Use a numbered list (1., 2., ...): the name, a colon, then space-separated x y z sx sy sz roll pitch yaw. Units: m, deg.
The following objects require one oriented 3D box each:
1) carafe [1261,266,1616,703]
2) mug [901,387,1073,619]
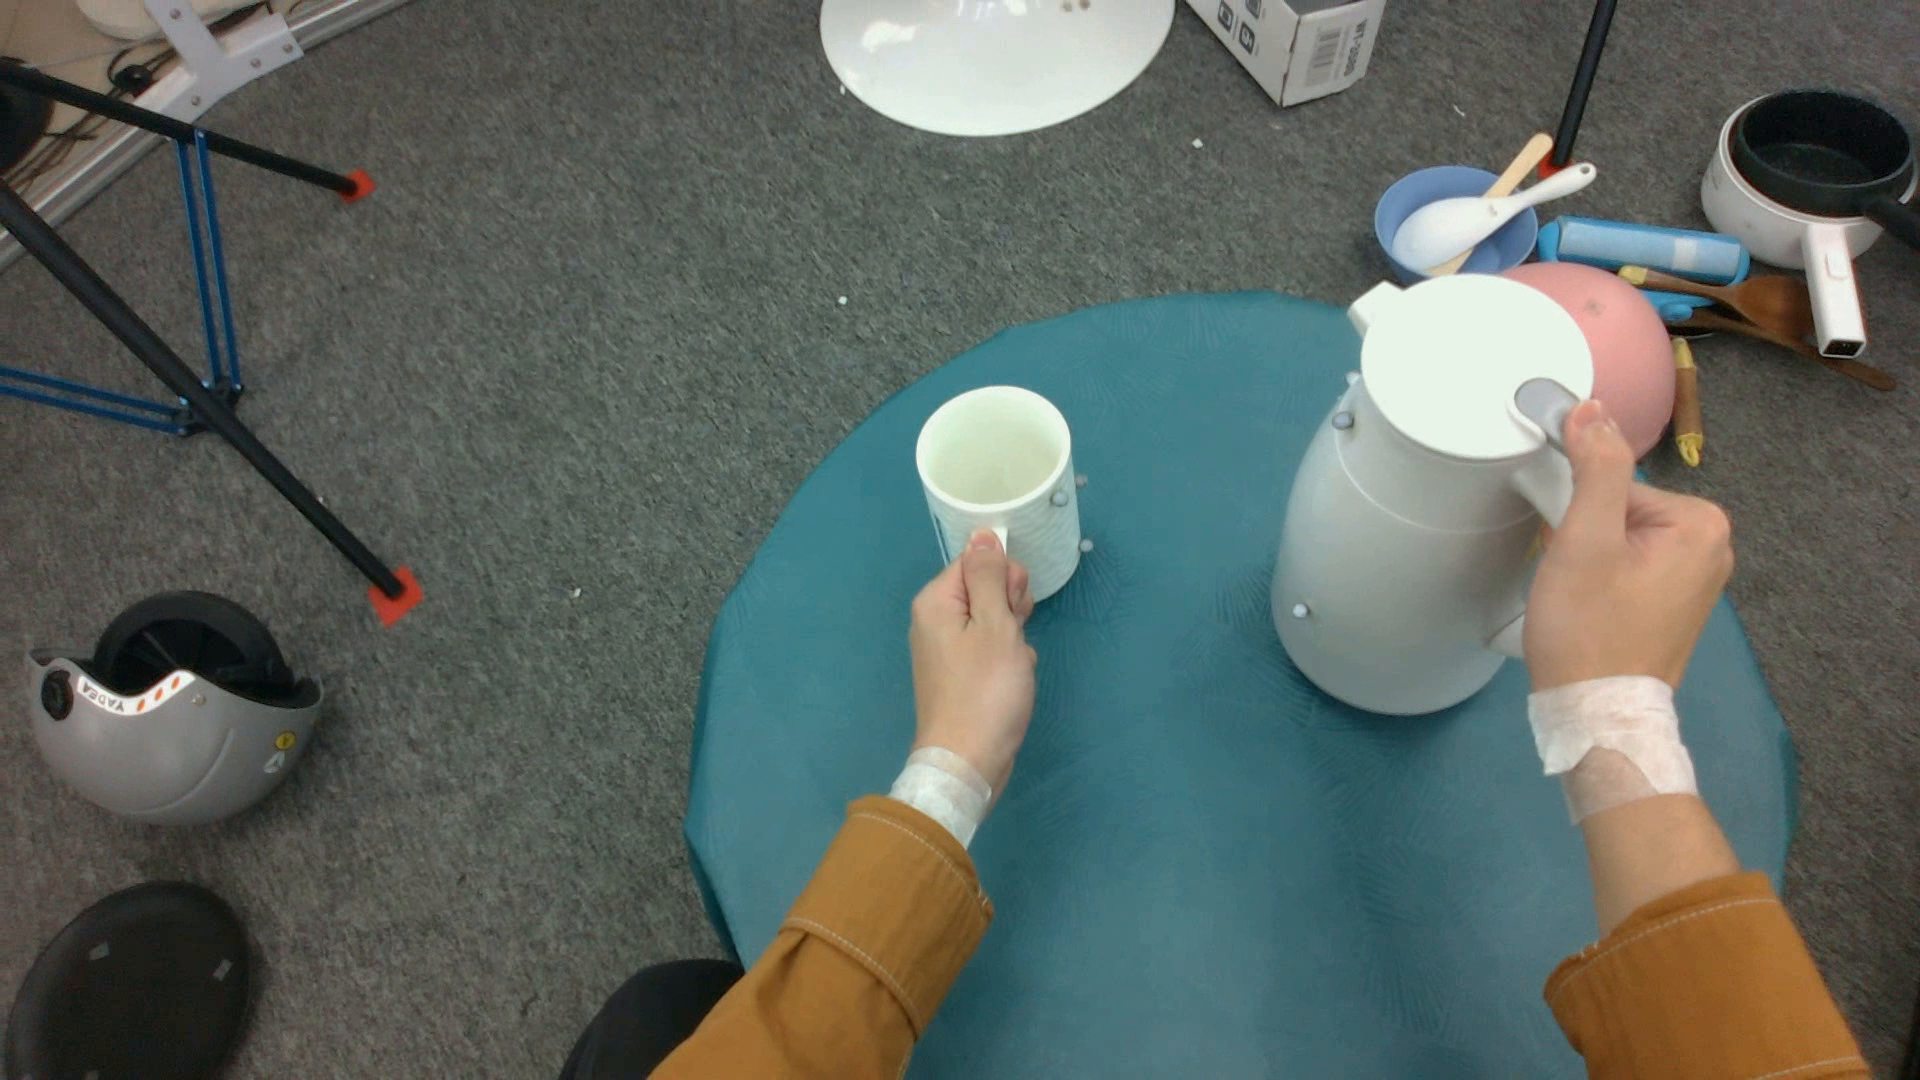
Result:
1. carafe: 0.237 -0.013 0.674 0.133 0.247 0.168 -35 64 -12
2. mug: 0.019 -0.010 0.780 0.085 0.101 0.119 -8 55 8
